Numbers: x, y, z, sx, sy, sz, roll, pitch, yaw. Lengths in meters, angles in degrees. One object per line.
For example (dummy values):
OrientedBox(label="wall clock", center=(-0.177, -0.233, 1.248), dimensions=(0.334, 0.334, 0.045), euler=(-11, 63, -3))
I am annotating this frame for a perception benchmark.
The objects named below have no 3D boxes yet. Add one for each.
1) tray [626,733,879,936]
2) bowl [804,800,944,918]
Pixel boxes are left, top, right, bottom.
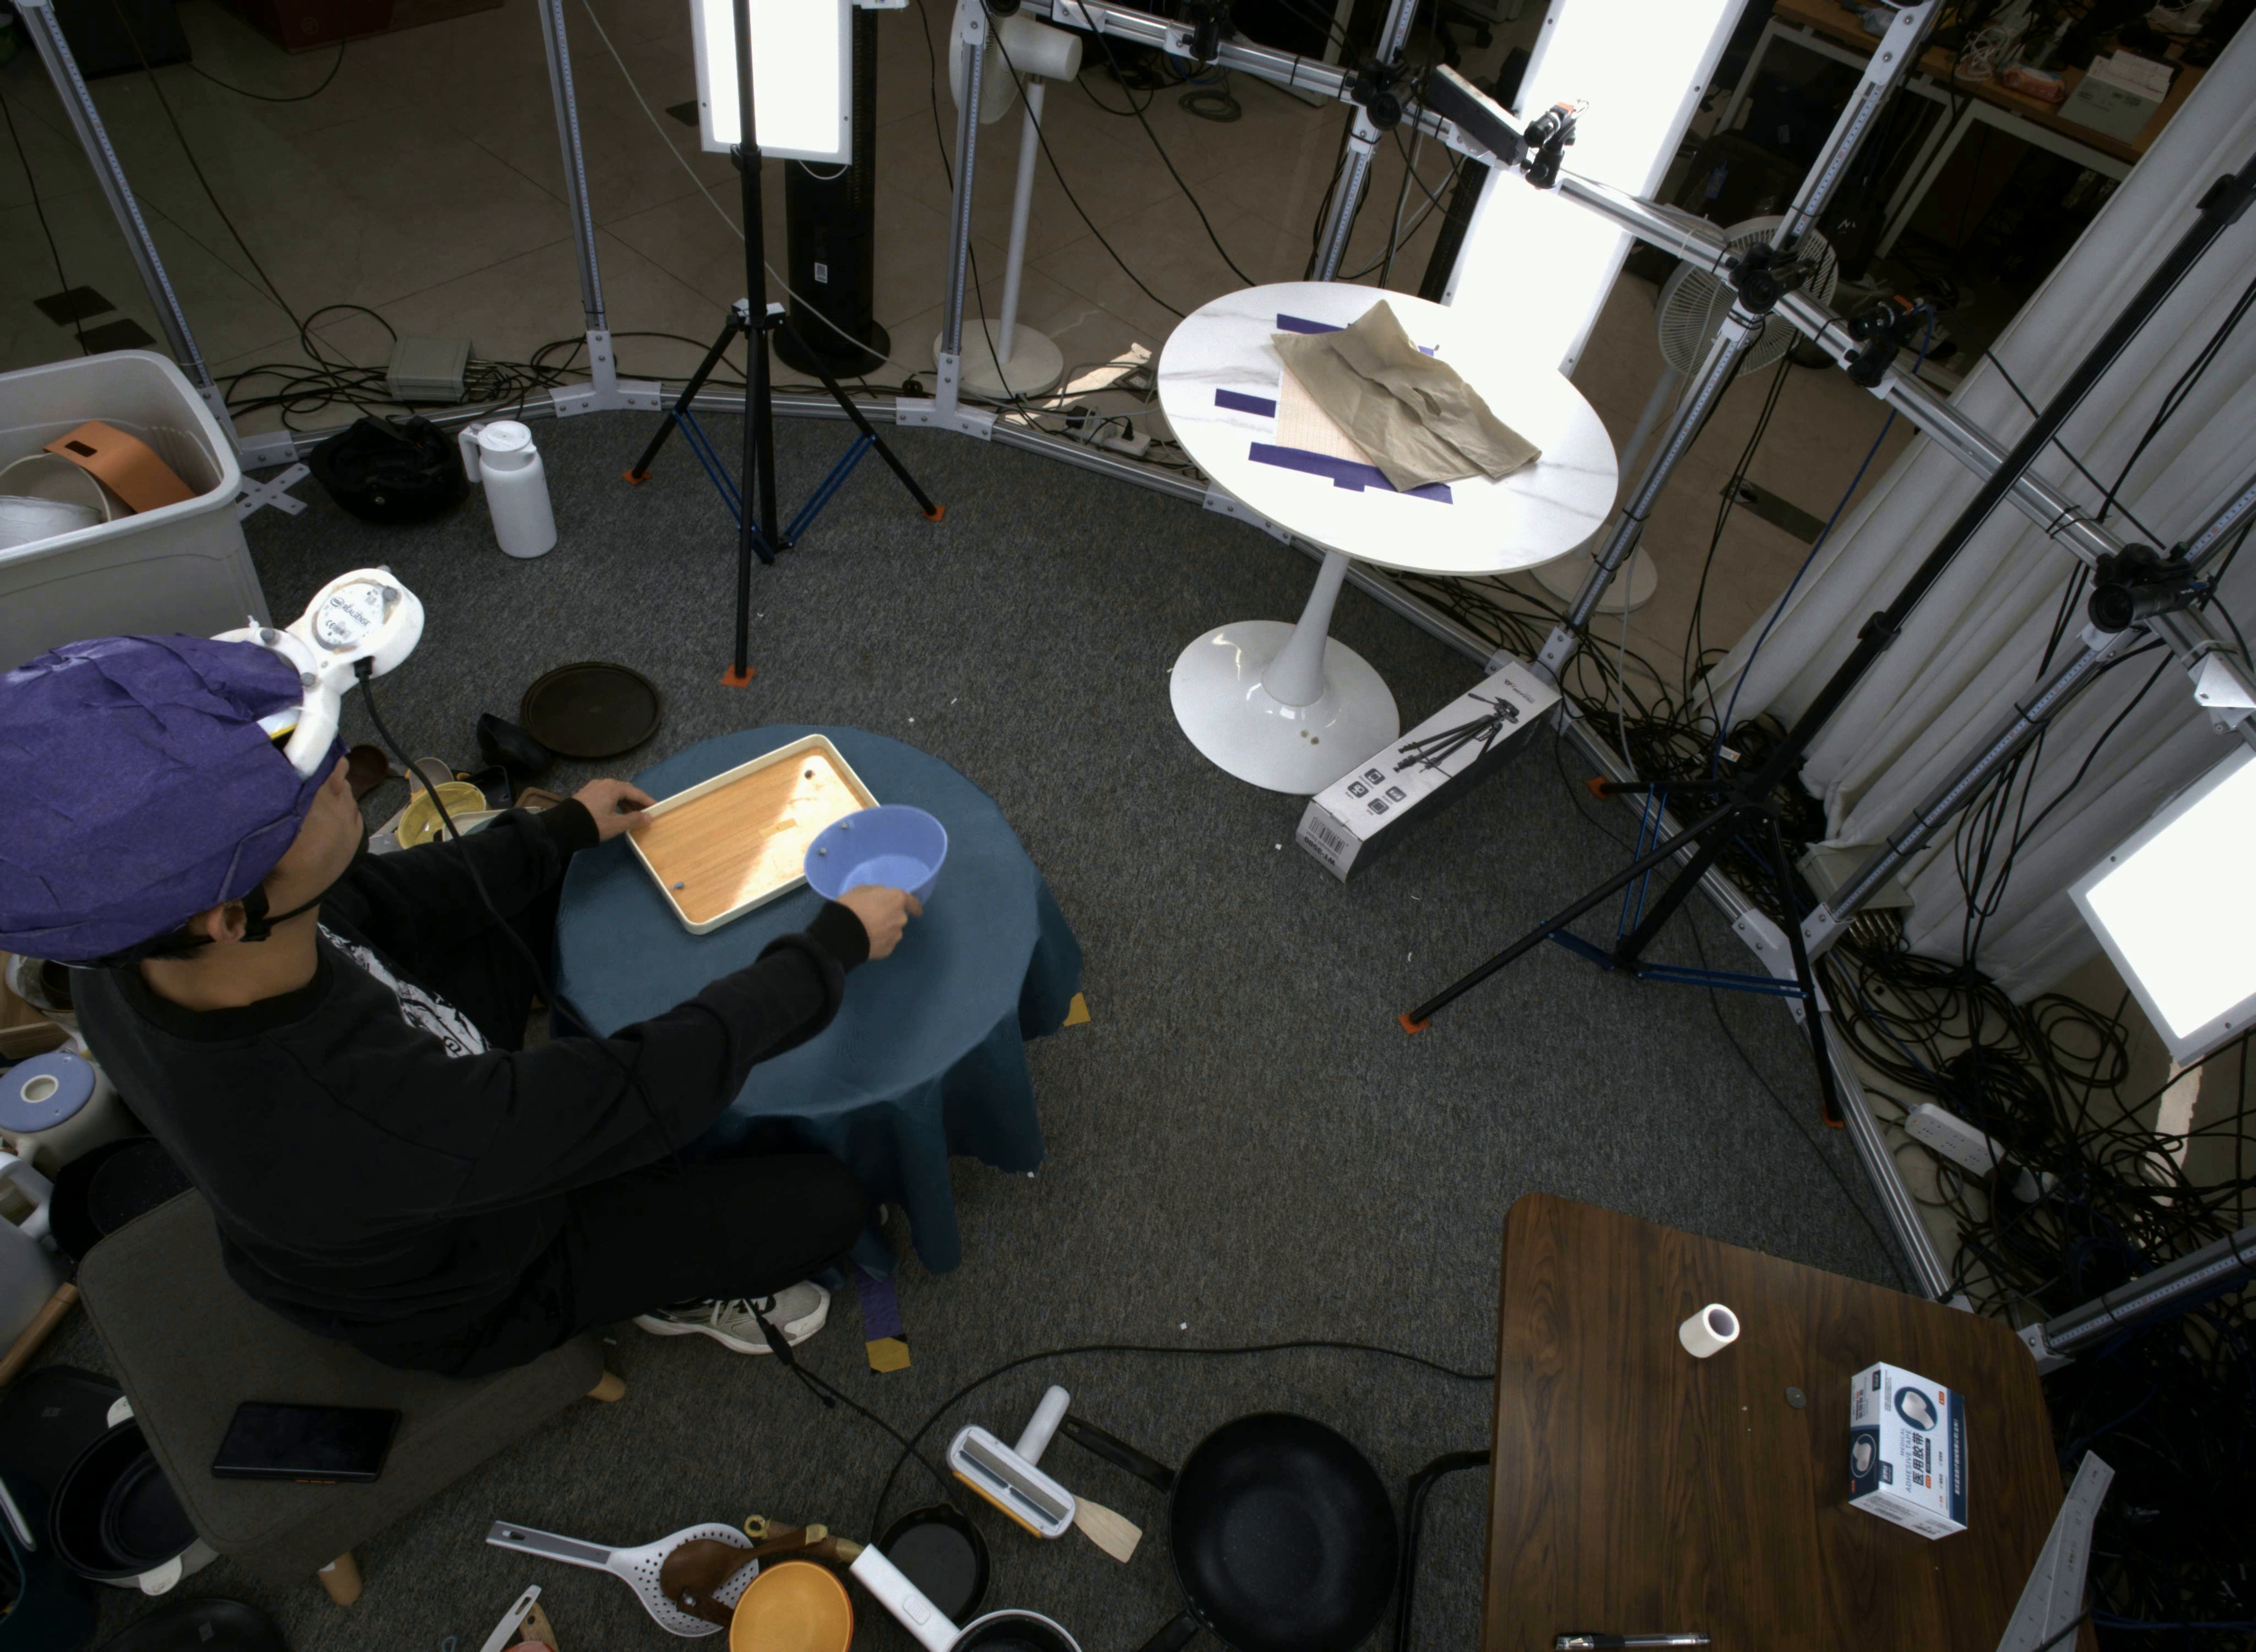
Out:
OrientedBox(label="tray", center=(-0.479, 0.004, 1.687), dimensions=(0.301, 0.028, 0.188), euler=(-29, 70, -31))
OrientedBox(label="bowl", center=(-0.305, 0.048, 1.600), dimensions=(0.173, 0.073, 0.172), euler=(-4, 41, 5))
